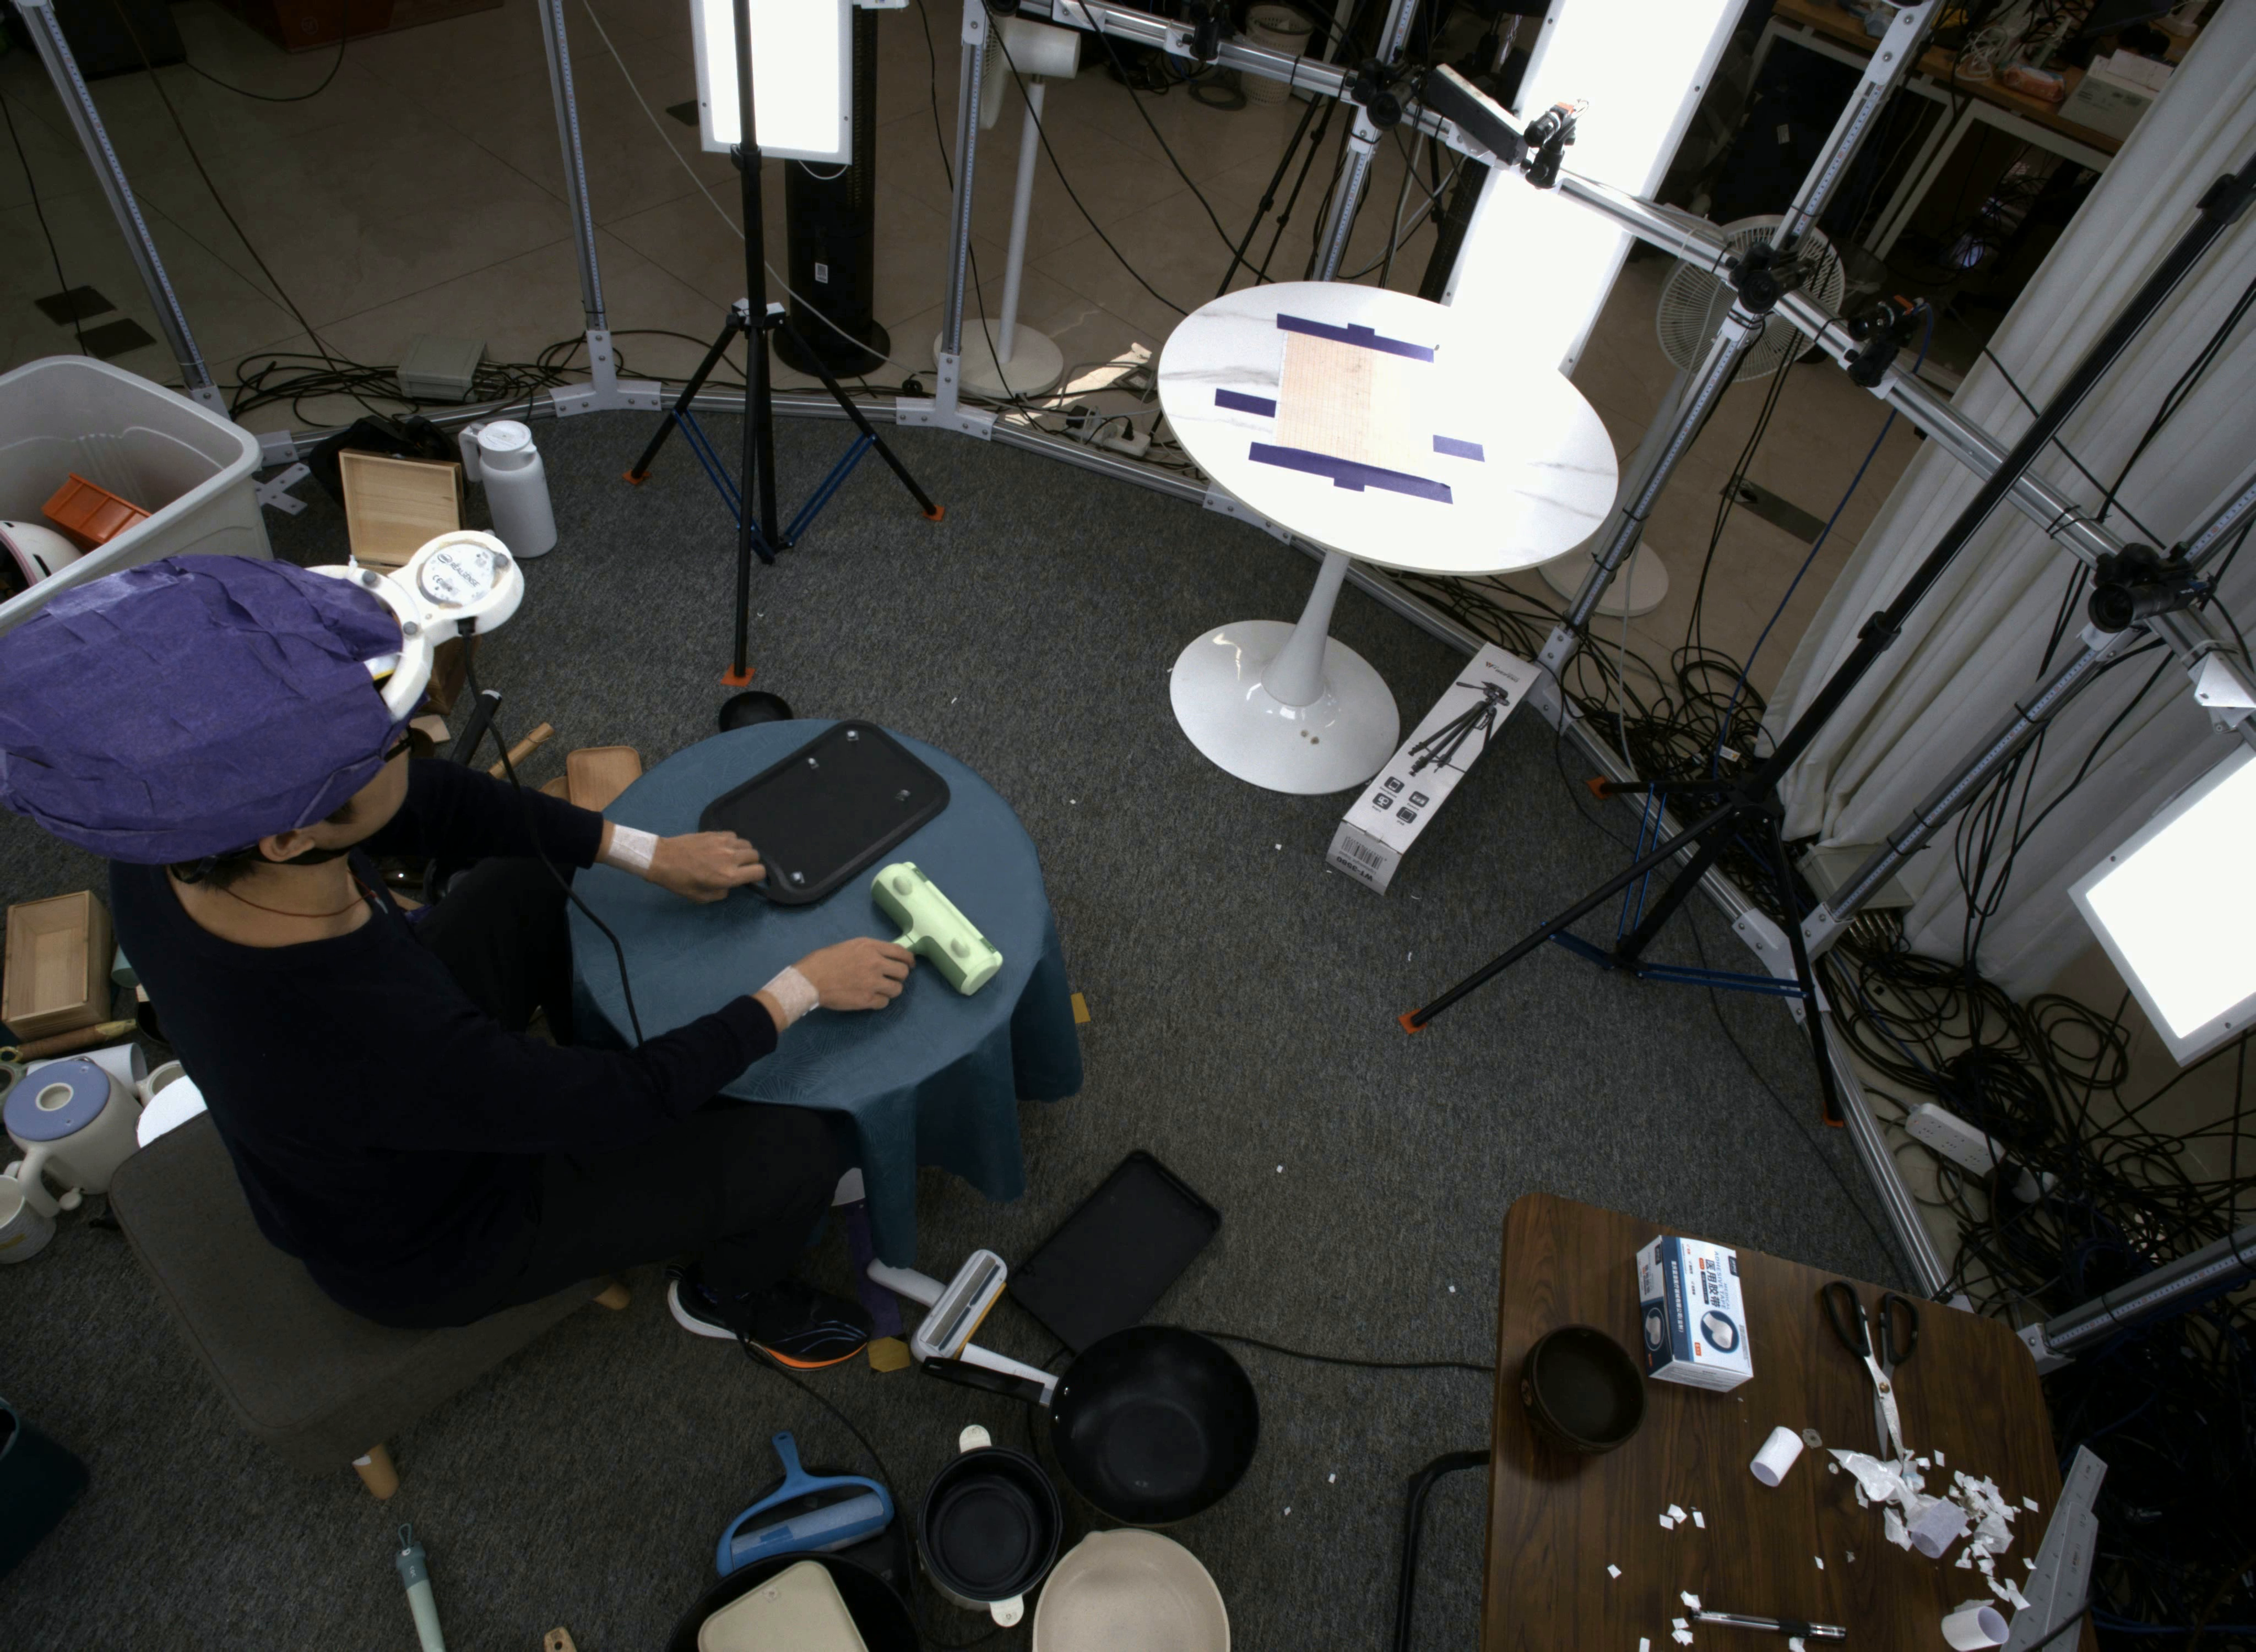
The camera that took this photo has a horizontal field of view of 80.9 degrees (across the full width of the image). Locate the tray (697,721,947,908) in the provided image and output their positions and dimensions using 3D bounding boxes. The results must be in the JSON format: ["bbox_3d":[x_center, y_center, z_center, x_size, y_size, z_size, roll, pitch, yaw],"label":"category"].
[{"bbox_3d":[-0.408,-0.020,1.725,0.207,0.010,0.326,38,52,15],"label":"tray"}]

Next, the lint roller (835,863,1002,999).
[{"bbox_3d":[-0.281,0.142,1.590,0.194,0.084,0.184,42,48,19],"label":"lint roller"}]
